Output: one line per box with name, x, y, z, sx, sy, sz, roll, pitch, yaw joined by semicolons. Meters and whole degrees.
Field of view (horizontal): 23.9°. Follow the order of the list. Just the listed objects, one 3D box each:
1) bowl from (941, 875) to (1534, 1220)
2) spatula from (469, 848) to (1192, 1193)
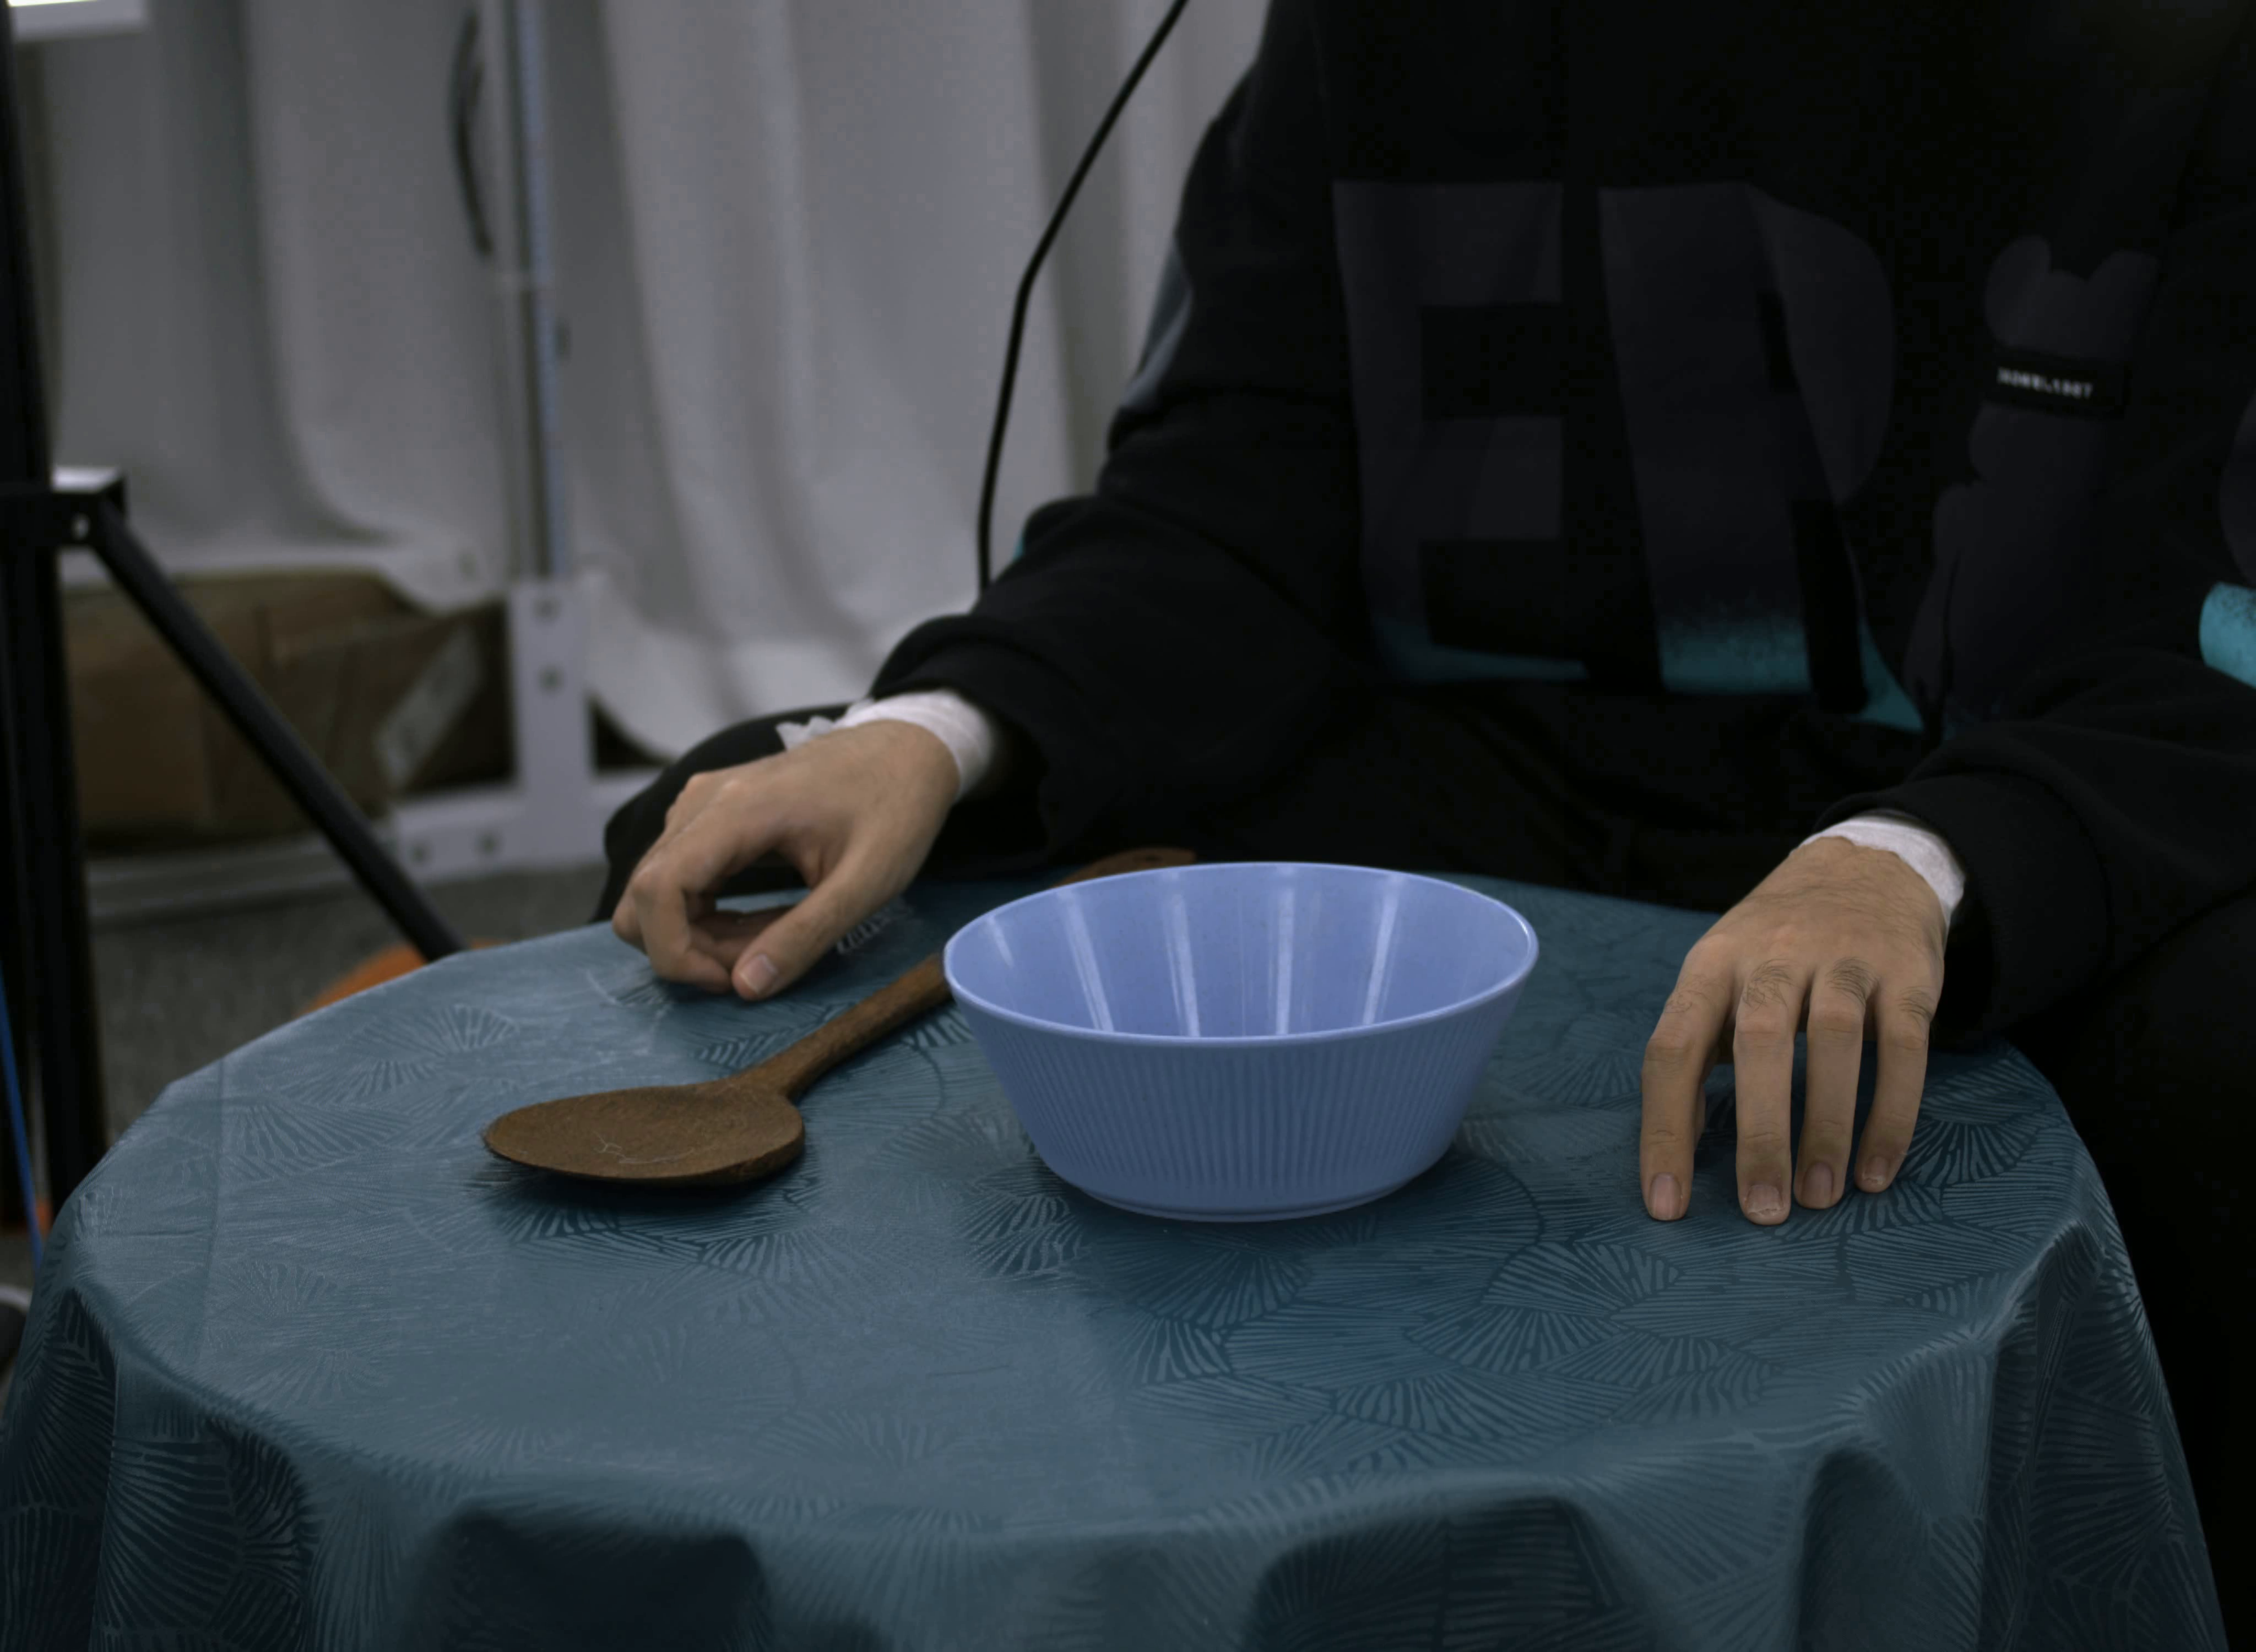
bowl;0.033;0.067;1.569;0.175;0.070;0.177;-2;15;-1
spatula;-0.075;0.057;1.725;0.098;0.016;0.379;7;18;28
